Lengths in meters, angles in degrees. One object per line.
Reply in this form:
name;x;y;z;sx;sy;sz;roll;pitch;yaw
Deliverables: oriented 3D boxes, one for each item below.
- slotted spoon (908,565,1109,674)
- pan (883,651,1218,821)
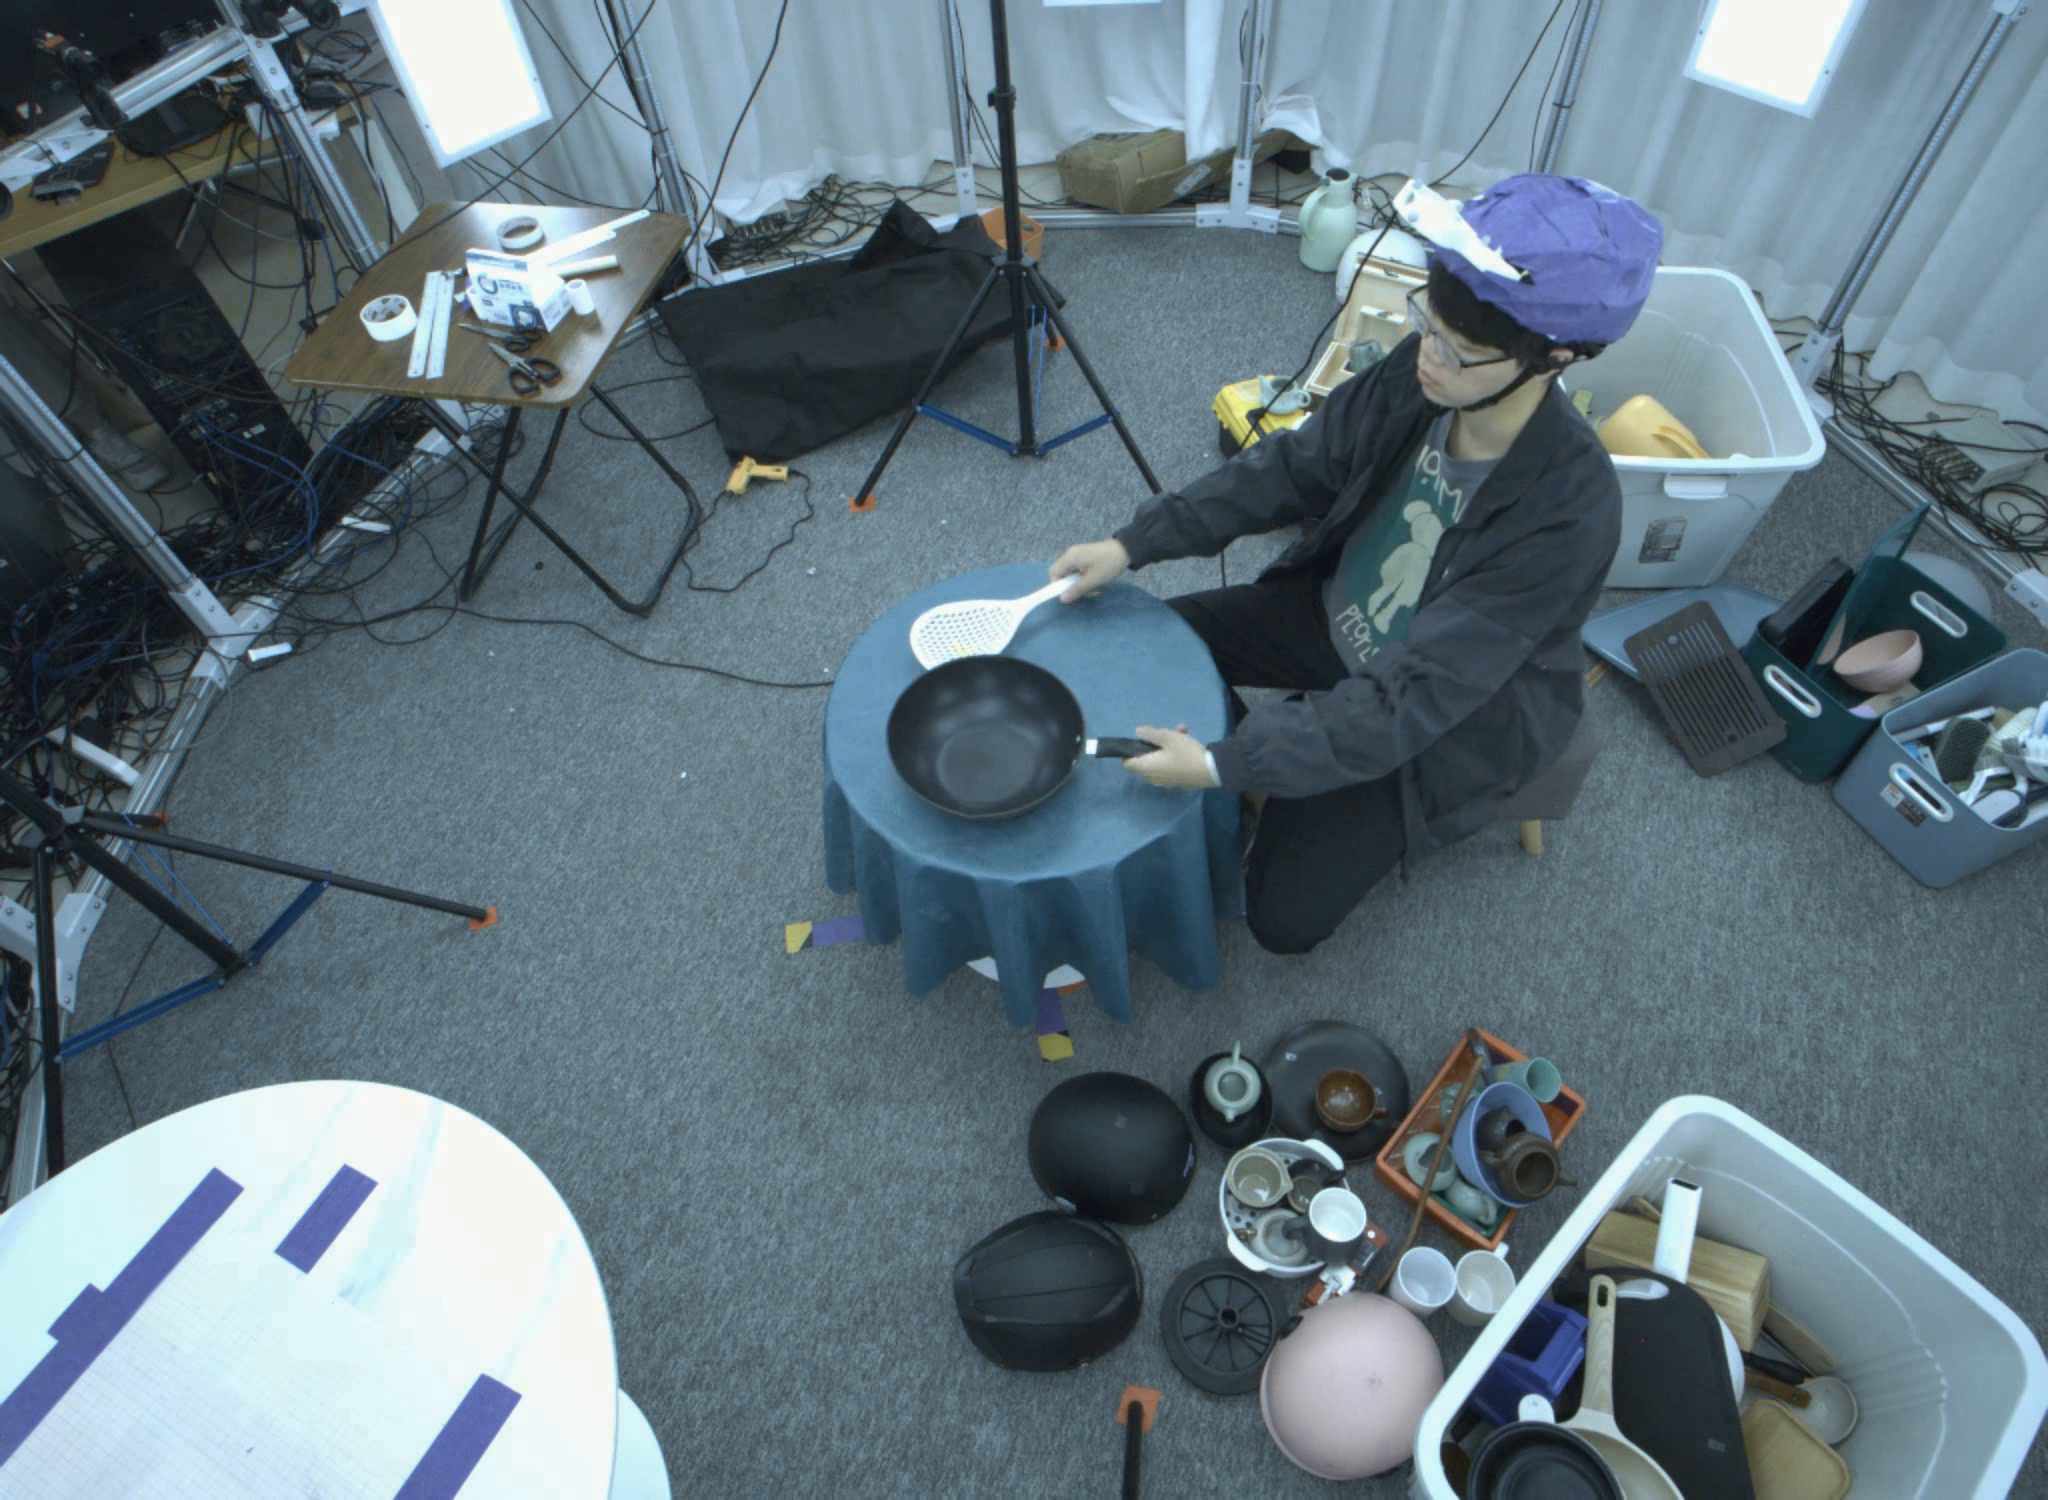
slotted spoon;-0.013;-0.212;1.895;0.350;0.051;0.134;-30;63;-13
pan;0.036;0.004;1.726;0.462;0.087;0.286;7;55;3
